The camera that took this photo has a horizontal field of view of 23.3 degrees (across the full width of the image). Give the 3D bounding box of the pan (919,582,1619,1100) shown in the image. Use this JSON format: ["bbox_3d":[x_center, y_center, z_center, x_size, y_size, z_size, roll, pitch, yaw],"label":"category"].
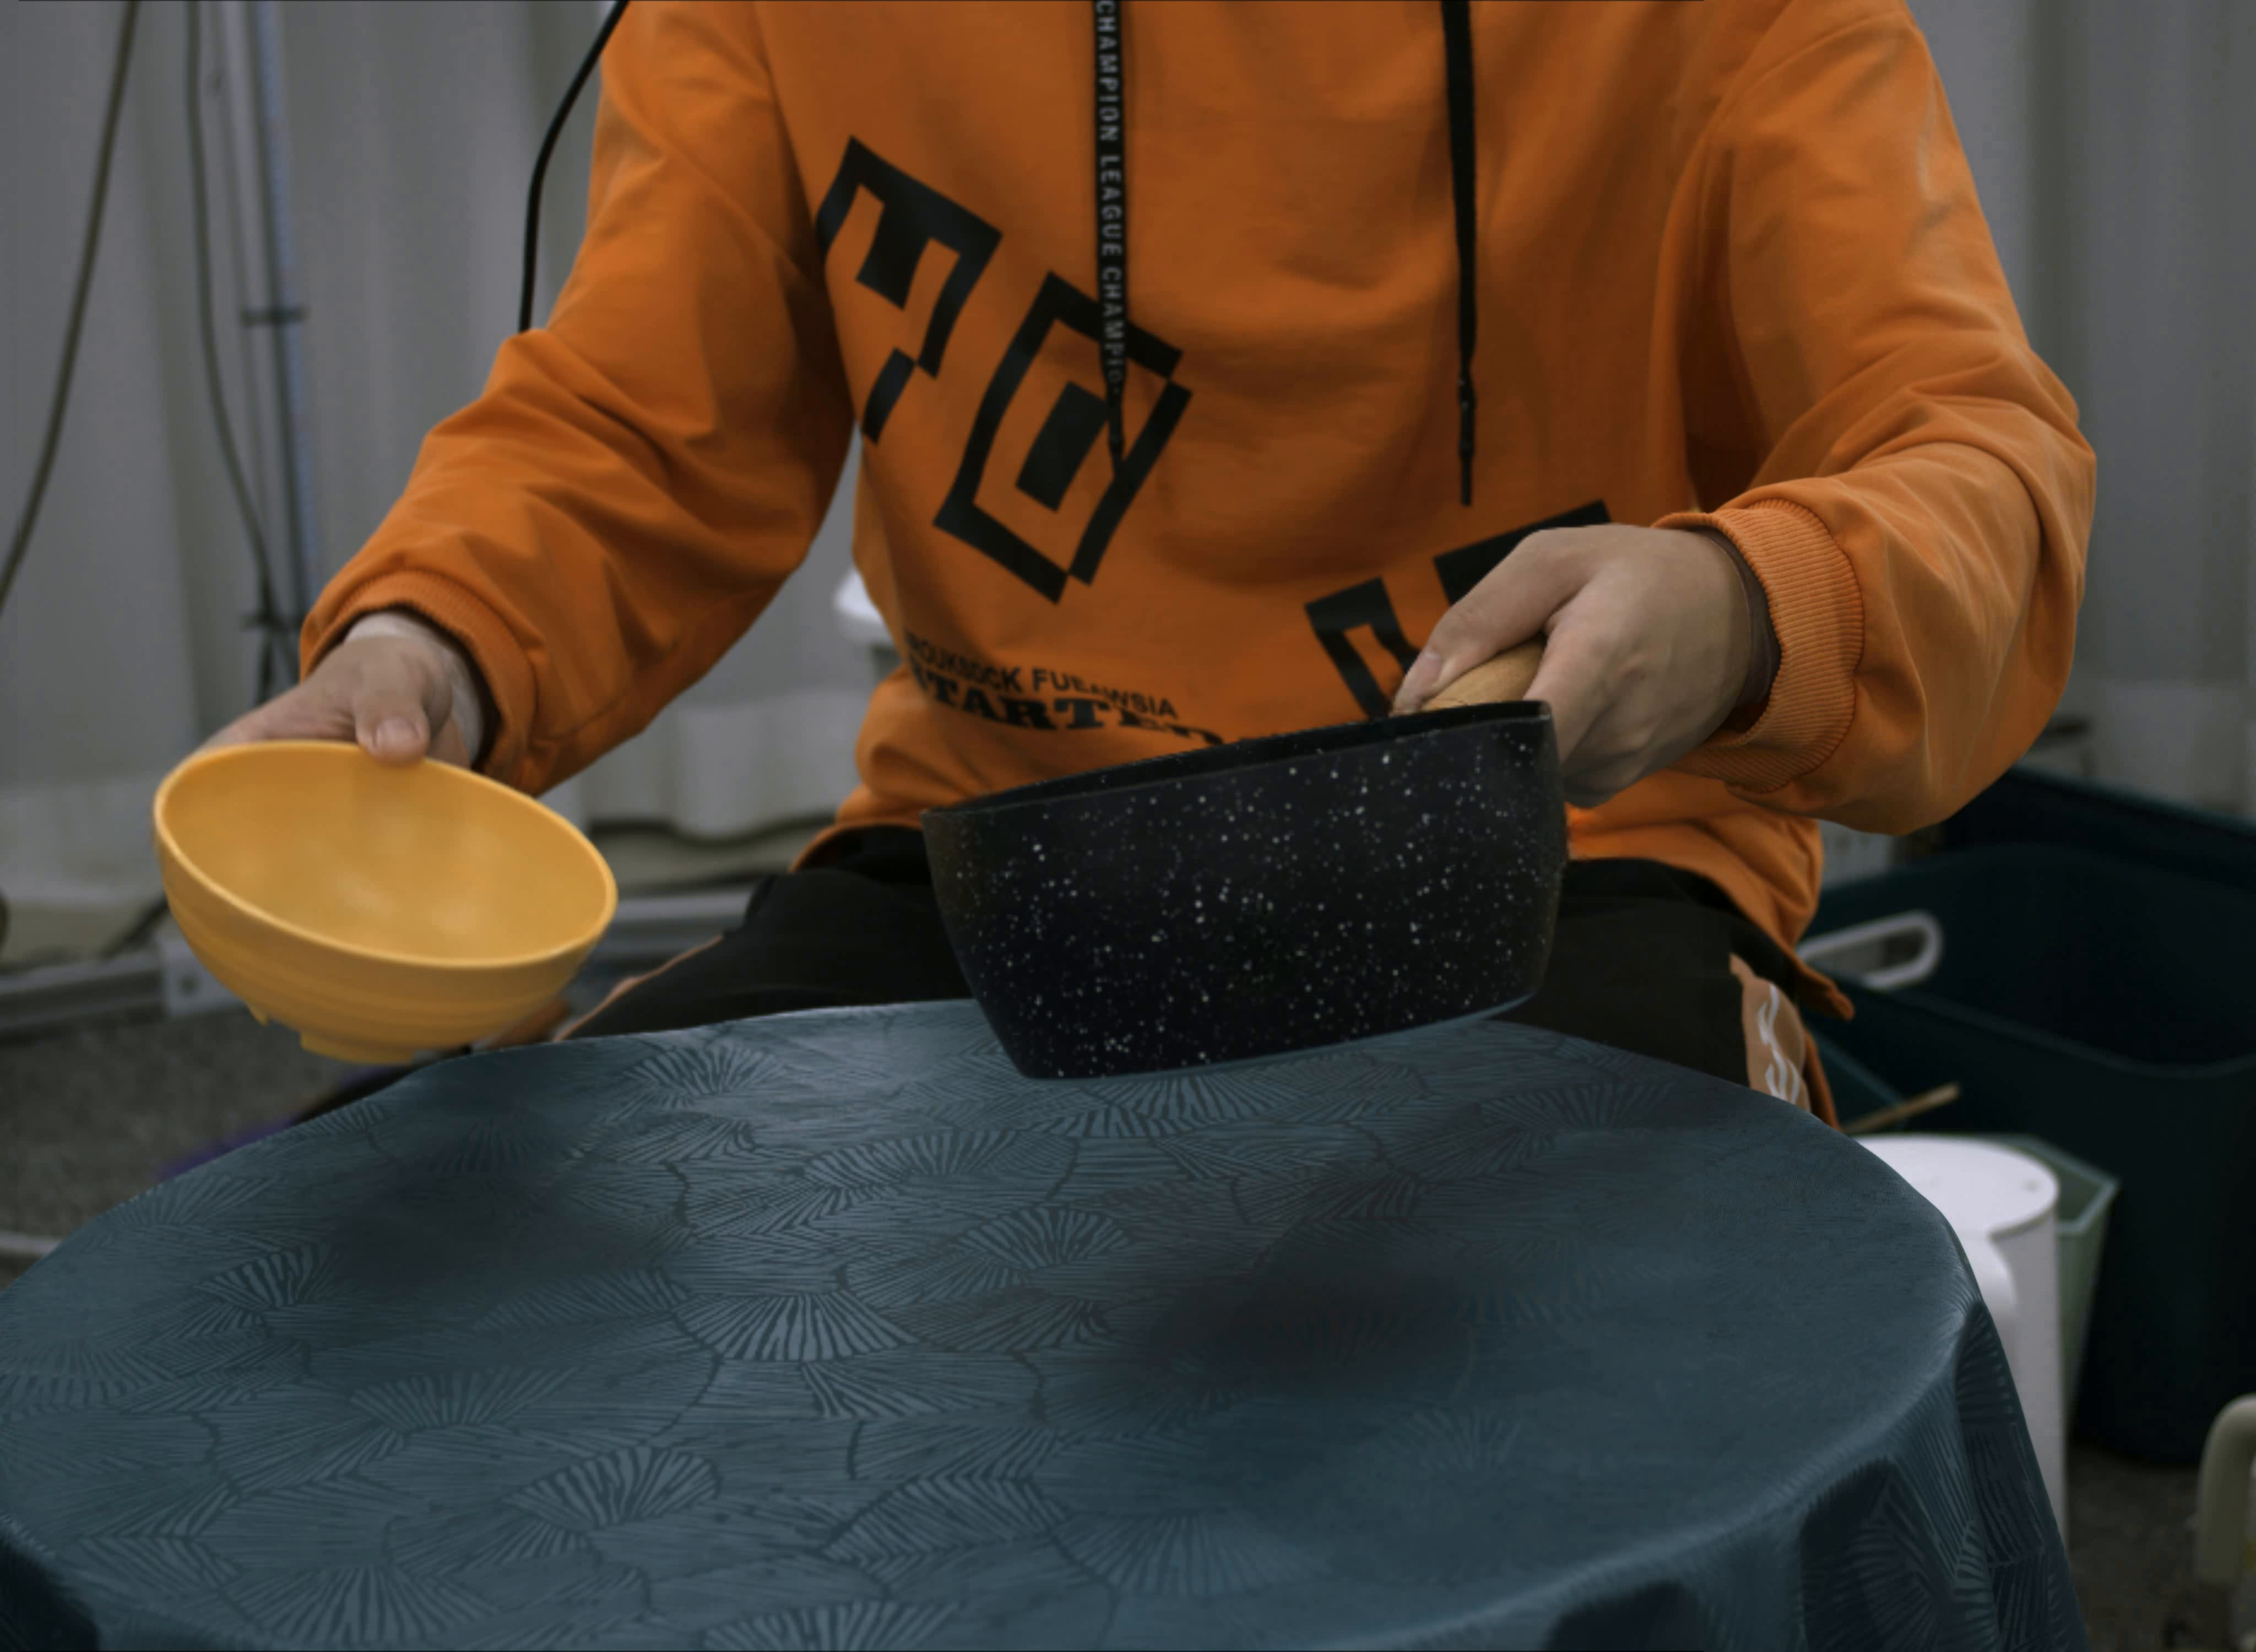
[{"bbox_3d":[0.073,-0.001,1.642,0.207,0.108,0.342,-10,4,30],"label":"pan"}]

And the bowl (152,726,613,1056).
[{"bbox_3d":[-0.235,0.029,1.687,0.144,0.060,0.147,15,23,-7],"label":"bowl"}]
